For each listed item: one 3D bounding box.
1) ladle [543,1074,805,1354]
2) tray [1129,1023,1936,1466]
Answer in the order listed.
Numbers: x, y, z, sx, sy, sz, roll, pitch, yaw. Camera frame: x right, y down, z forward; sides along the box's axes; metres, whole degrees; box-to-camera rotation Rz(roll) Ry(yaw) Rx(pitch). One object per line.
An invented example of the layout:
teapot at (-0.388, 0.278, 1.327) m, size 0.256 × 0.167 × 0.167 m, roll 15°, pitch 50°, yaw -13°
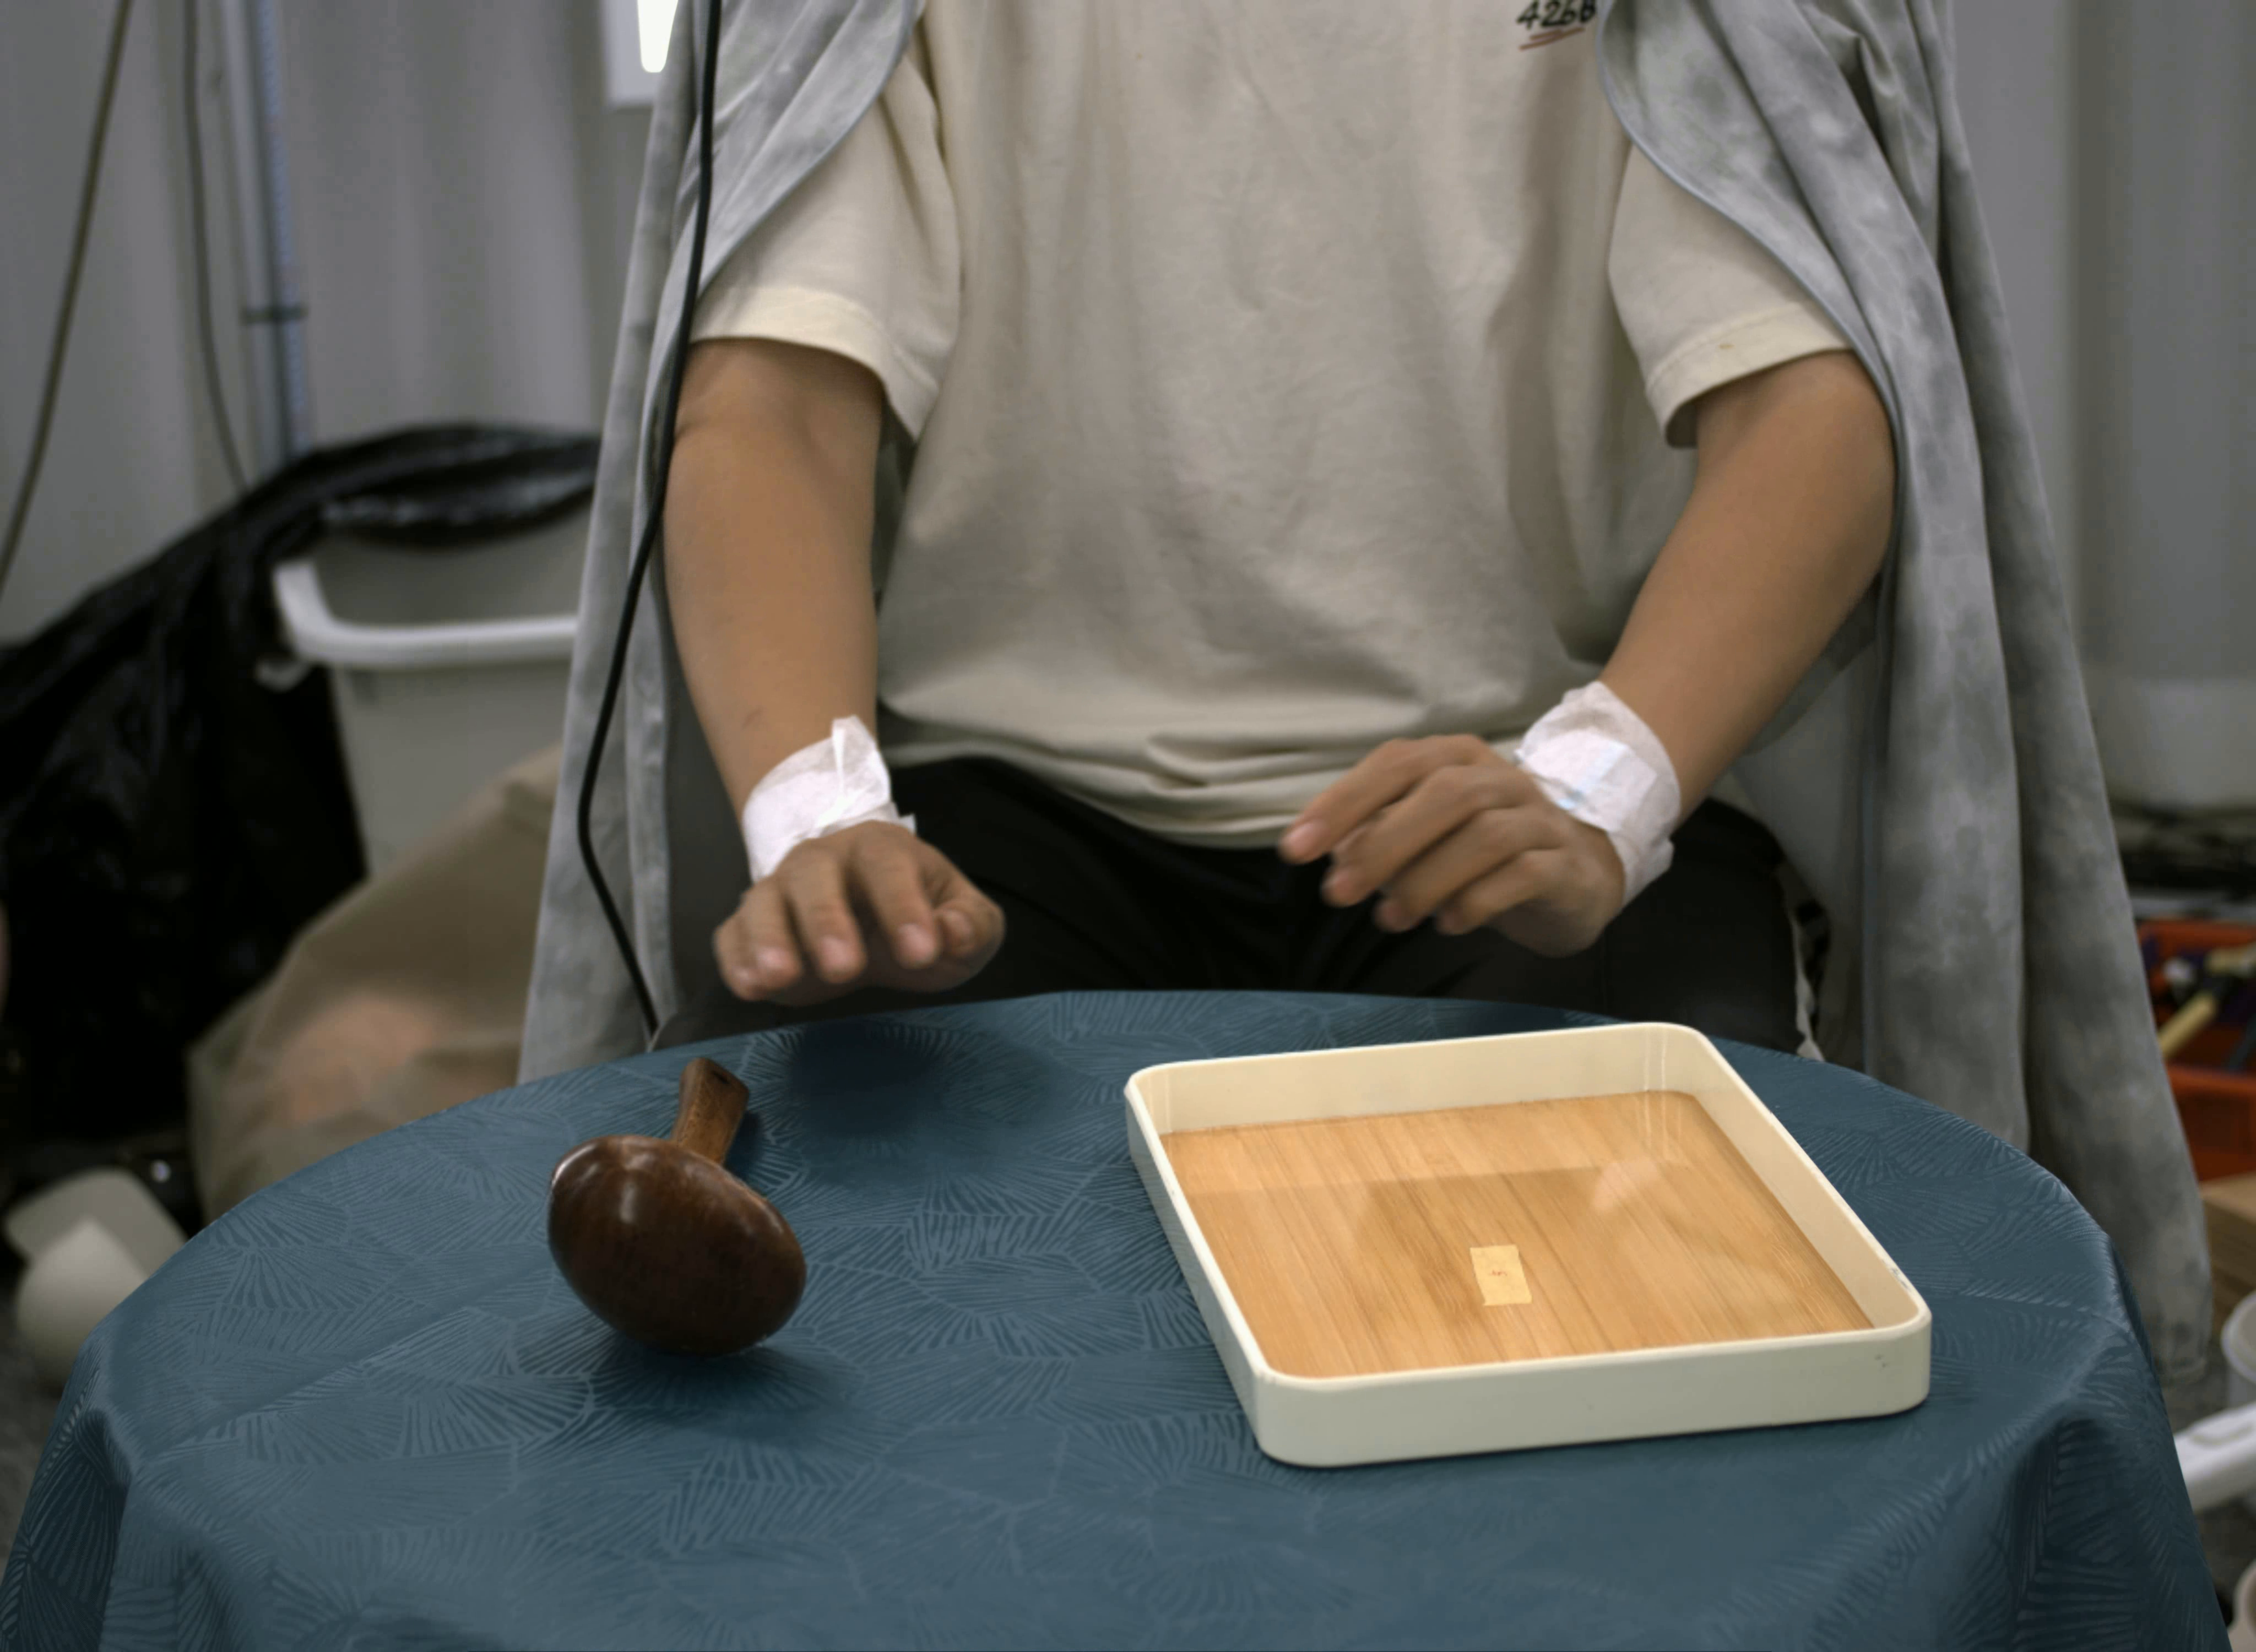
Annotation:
ladle at (-0.125, 0.096, 1.679) m, size 0.082 × 0.076 × 0.275 m, roll 39°, pitch 14°, yaw -5°
tray at (0.112, 0.120, 1.627) m, size 0.191 × 0.027 × 0.302 m, roll -5°, pitch 15°, yaw -6°
